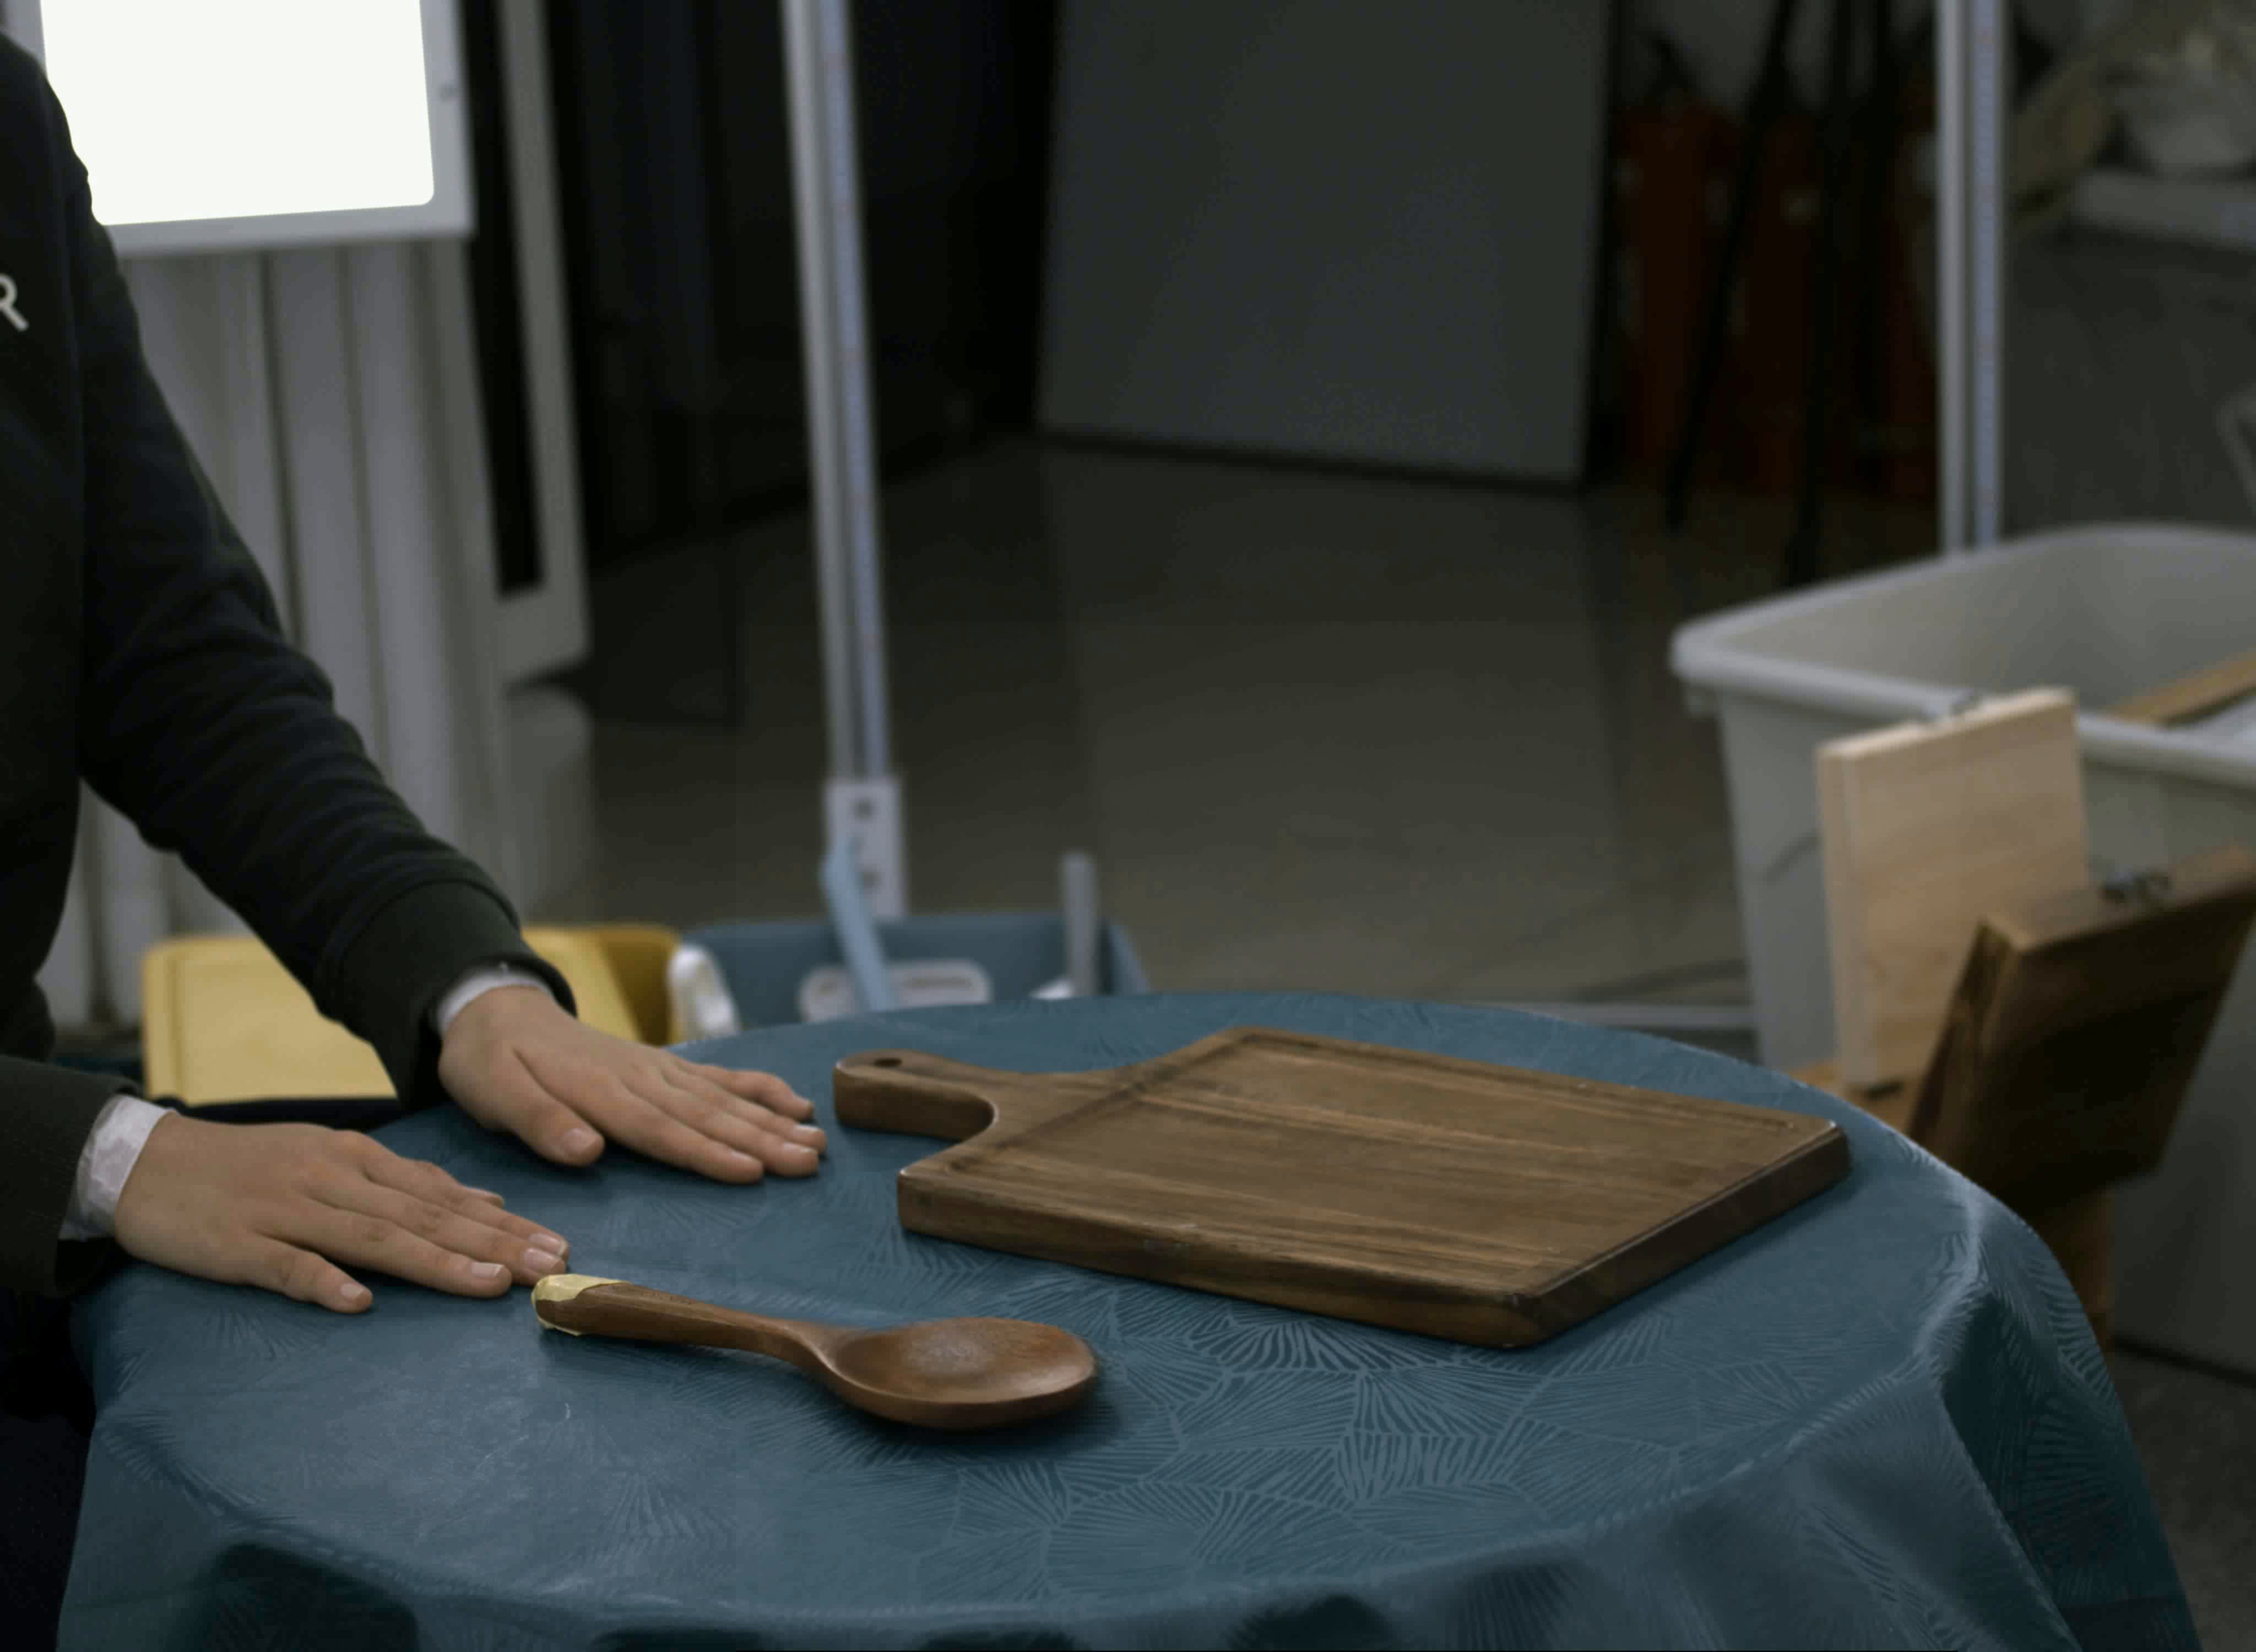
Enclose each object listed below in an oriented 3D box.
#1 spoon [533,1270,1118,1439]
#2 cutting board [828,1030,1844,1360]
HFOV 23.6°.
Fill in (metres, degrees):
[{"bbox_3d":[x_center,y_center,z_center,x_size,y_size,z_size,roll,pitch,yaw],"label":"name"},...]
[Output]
[{"bbox_3d":[-0.095,0.157,1.618,0.217,0.017,0.074,7,20,37],"label":"spoon"},{"bbox_3d":[0.040,0.110,1.769,0.355,0.023,0.197,7,19,38],"label":"cutting board"}]
